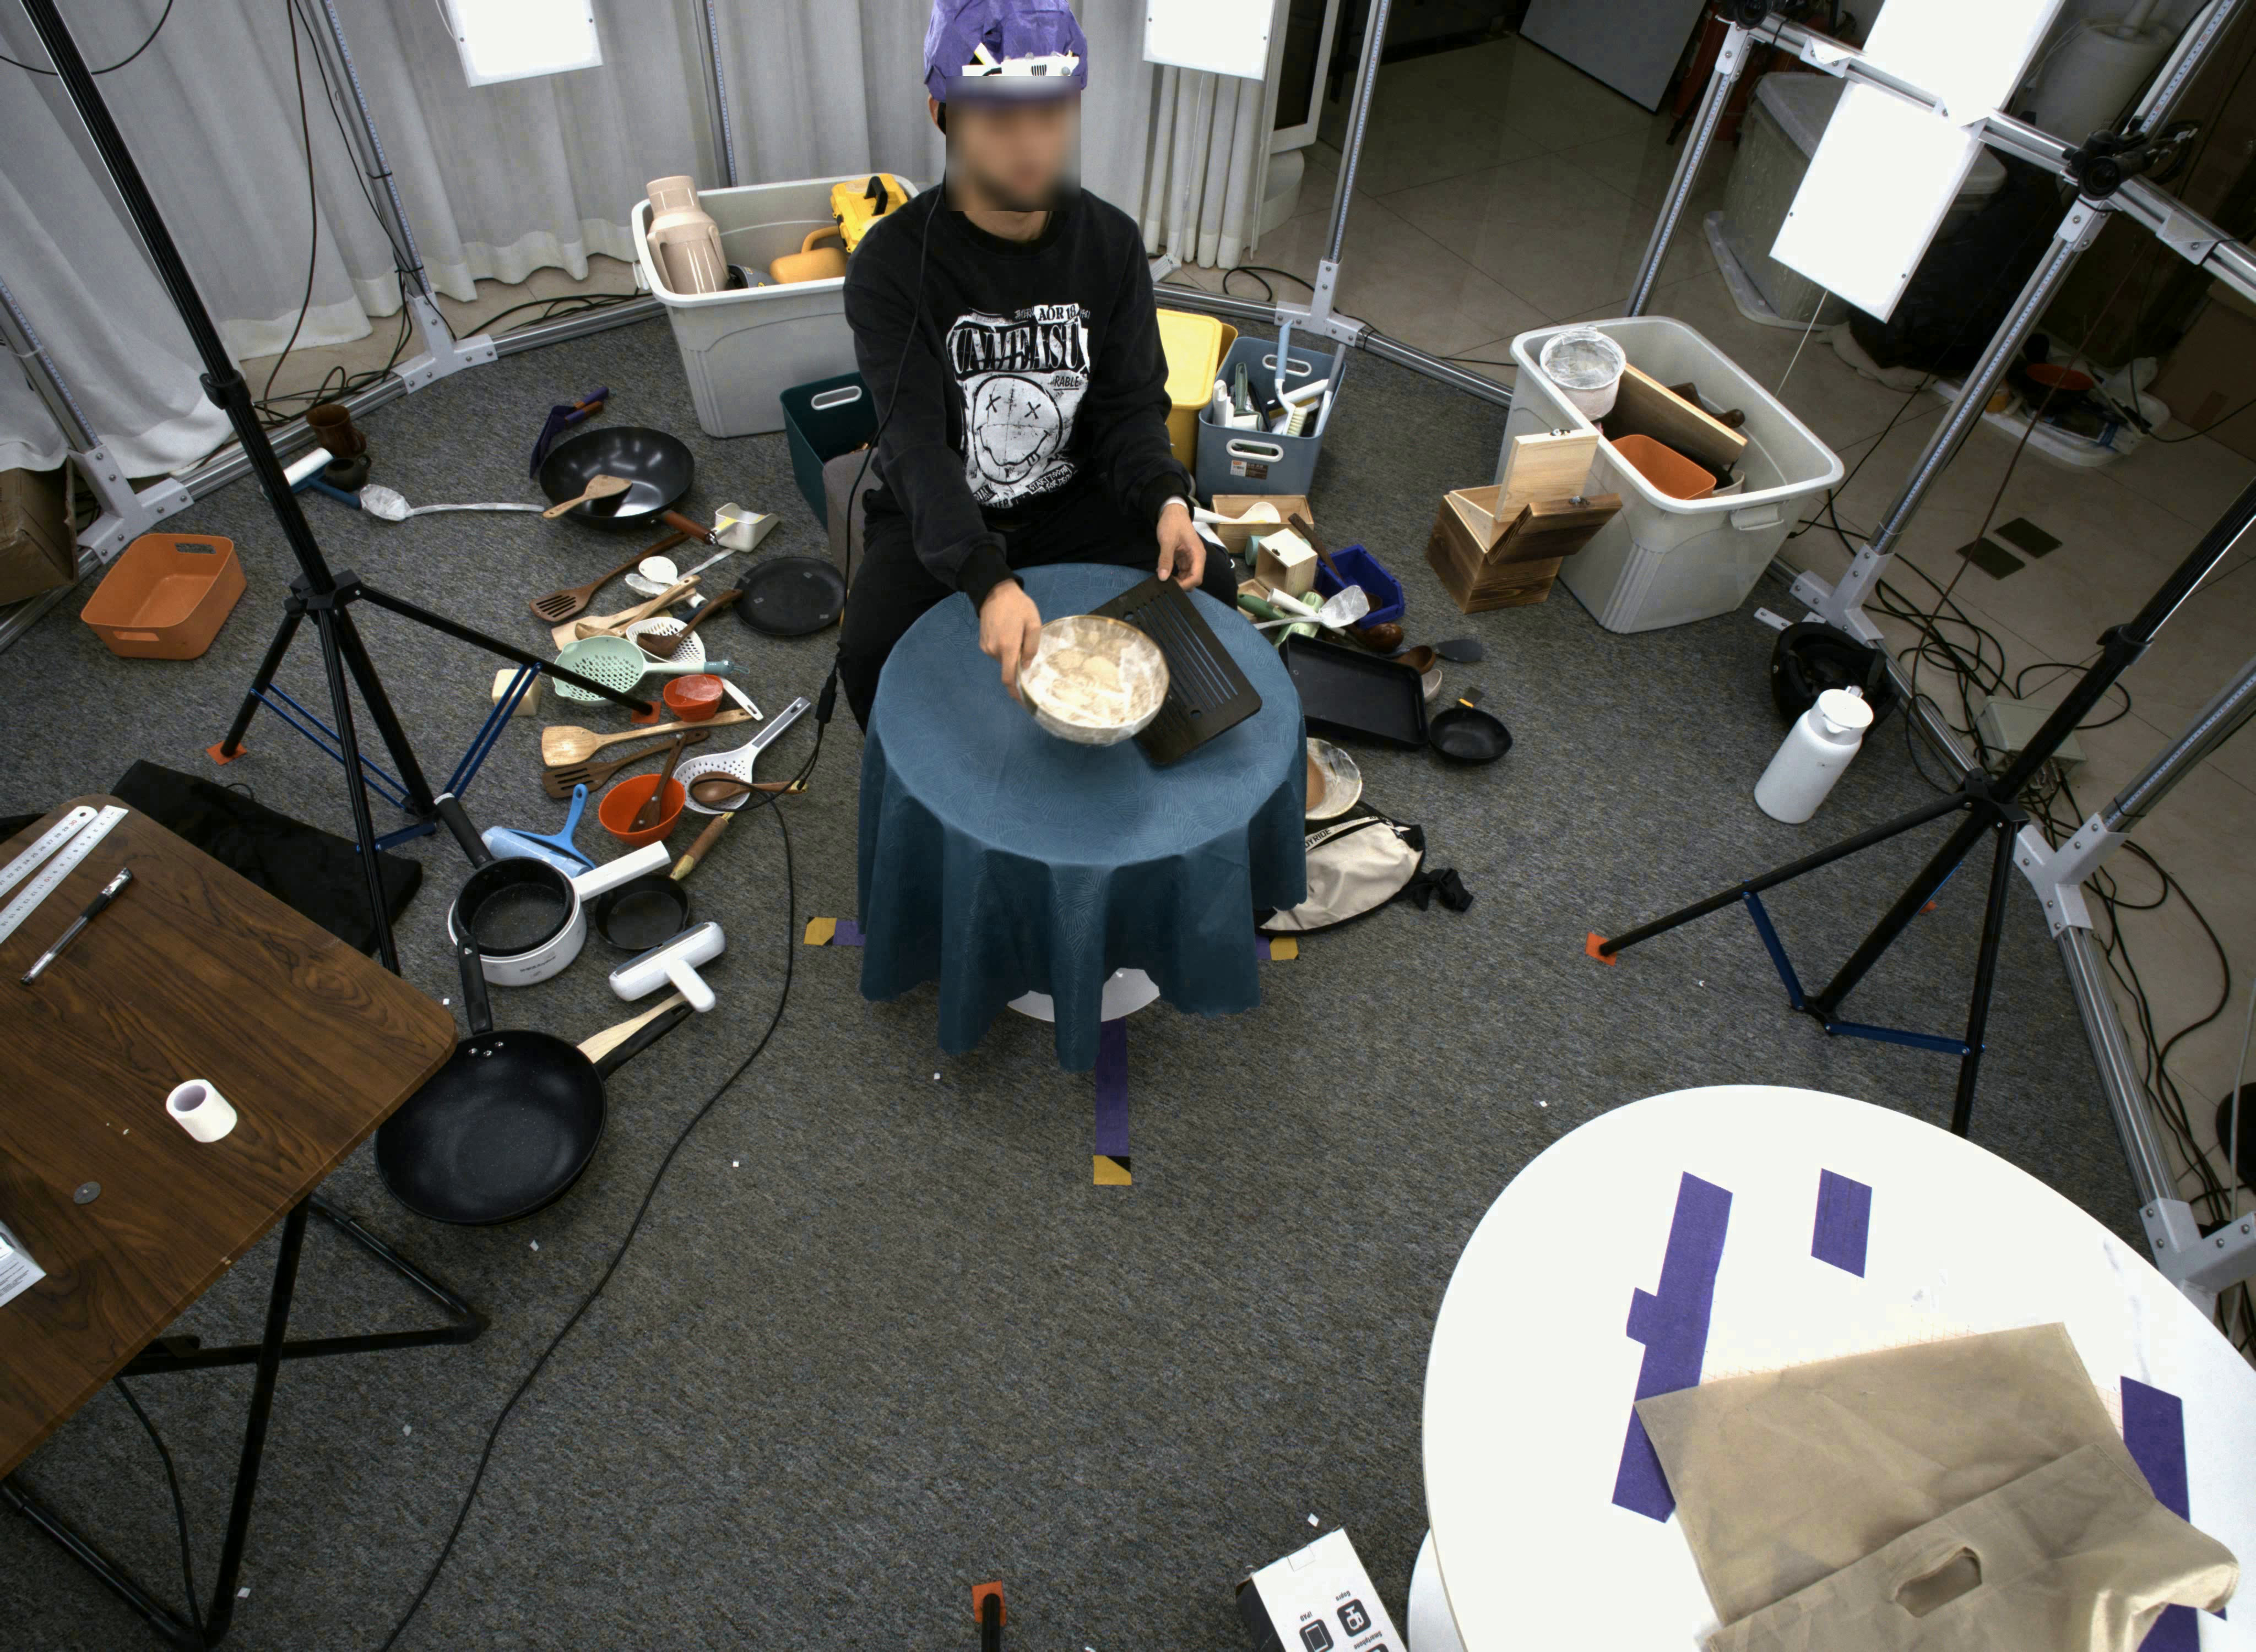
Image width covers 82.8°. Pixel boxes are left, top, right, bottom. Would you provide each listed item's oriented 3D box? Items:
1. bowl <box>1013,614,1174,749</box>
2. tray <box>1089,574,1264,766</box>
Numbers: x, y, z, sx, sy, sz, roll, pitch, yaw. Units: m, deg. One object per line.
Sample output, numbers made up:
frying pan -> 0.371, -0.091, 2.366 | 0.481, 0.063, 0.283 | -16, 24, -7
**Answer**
bowl -> -0.052, -0.178, 1.720 | 0.214, 0.092, 0.220 | 4, 52, -5
tray -> 0.054, -0.227, 1.836 | 0.170, 0.018, 0.313 | -30, 54, 0
